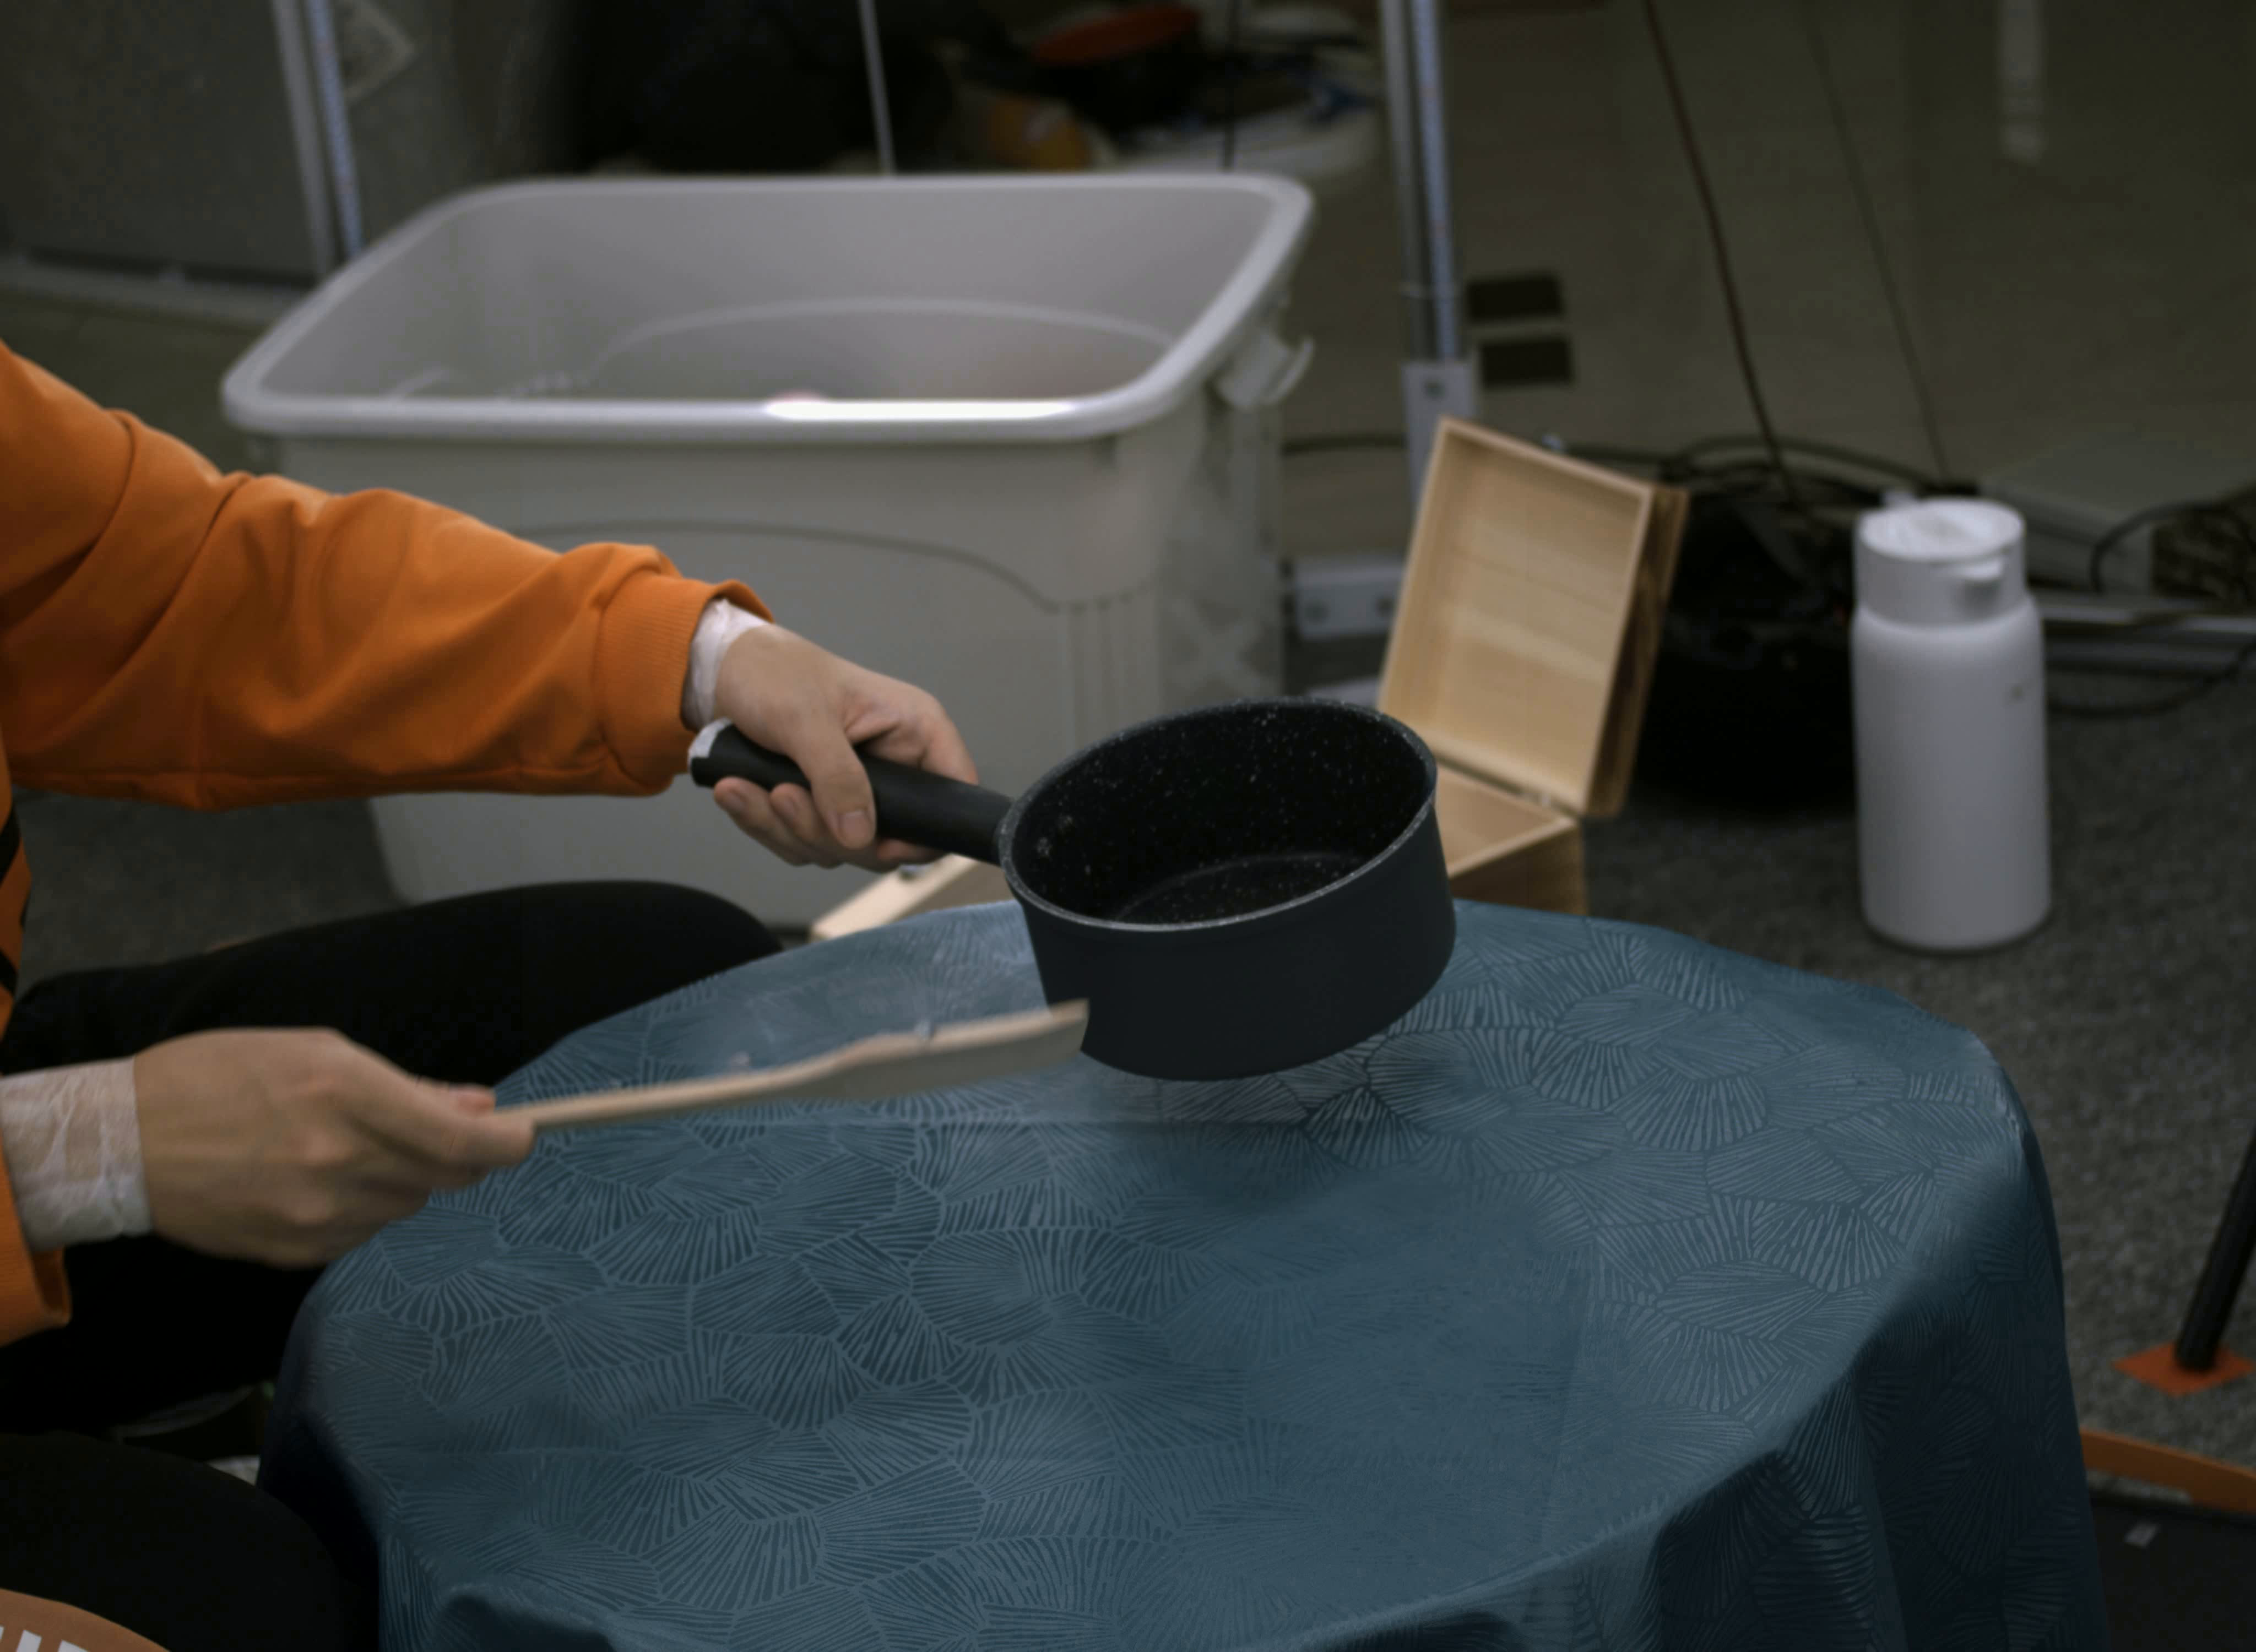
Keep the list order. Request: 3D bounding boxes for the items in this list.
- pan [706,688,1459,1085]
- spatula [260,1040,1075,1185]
[{"bbox_3d":[-0.024,0.012,2.229,0.327,0.088,0.170,10,38,32],"label":"pan"},{"bbox_3d":[-0.163,0.104,2.022,0.292,0.010,0.073,-8,-12,-6],"label":"spatula"}]
